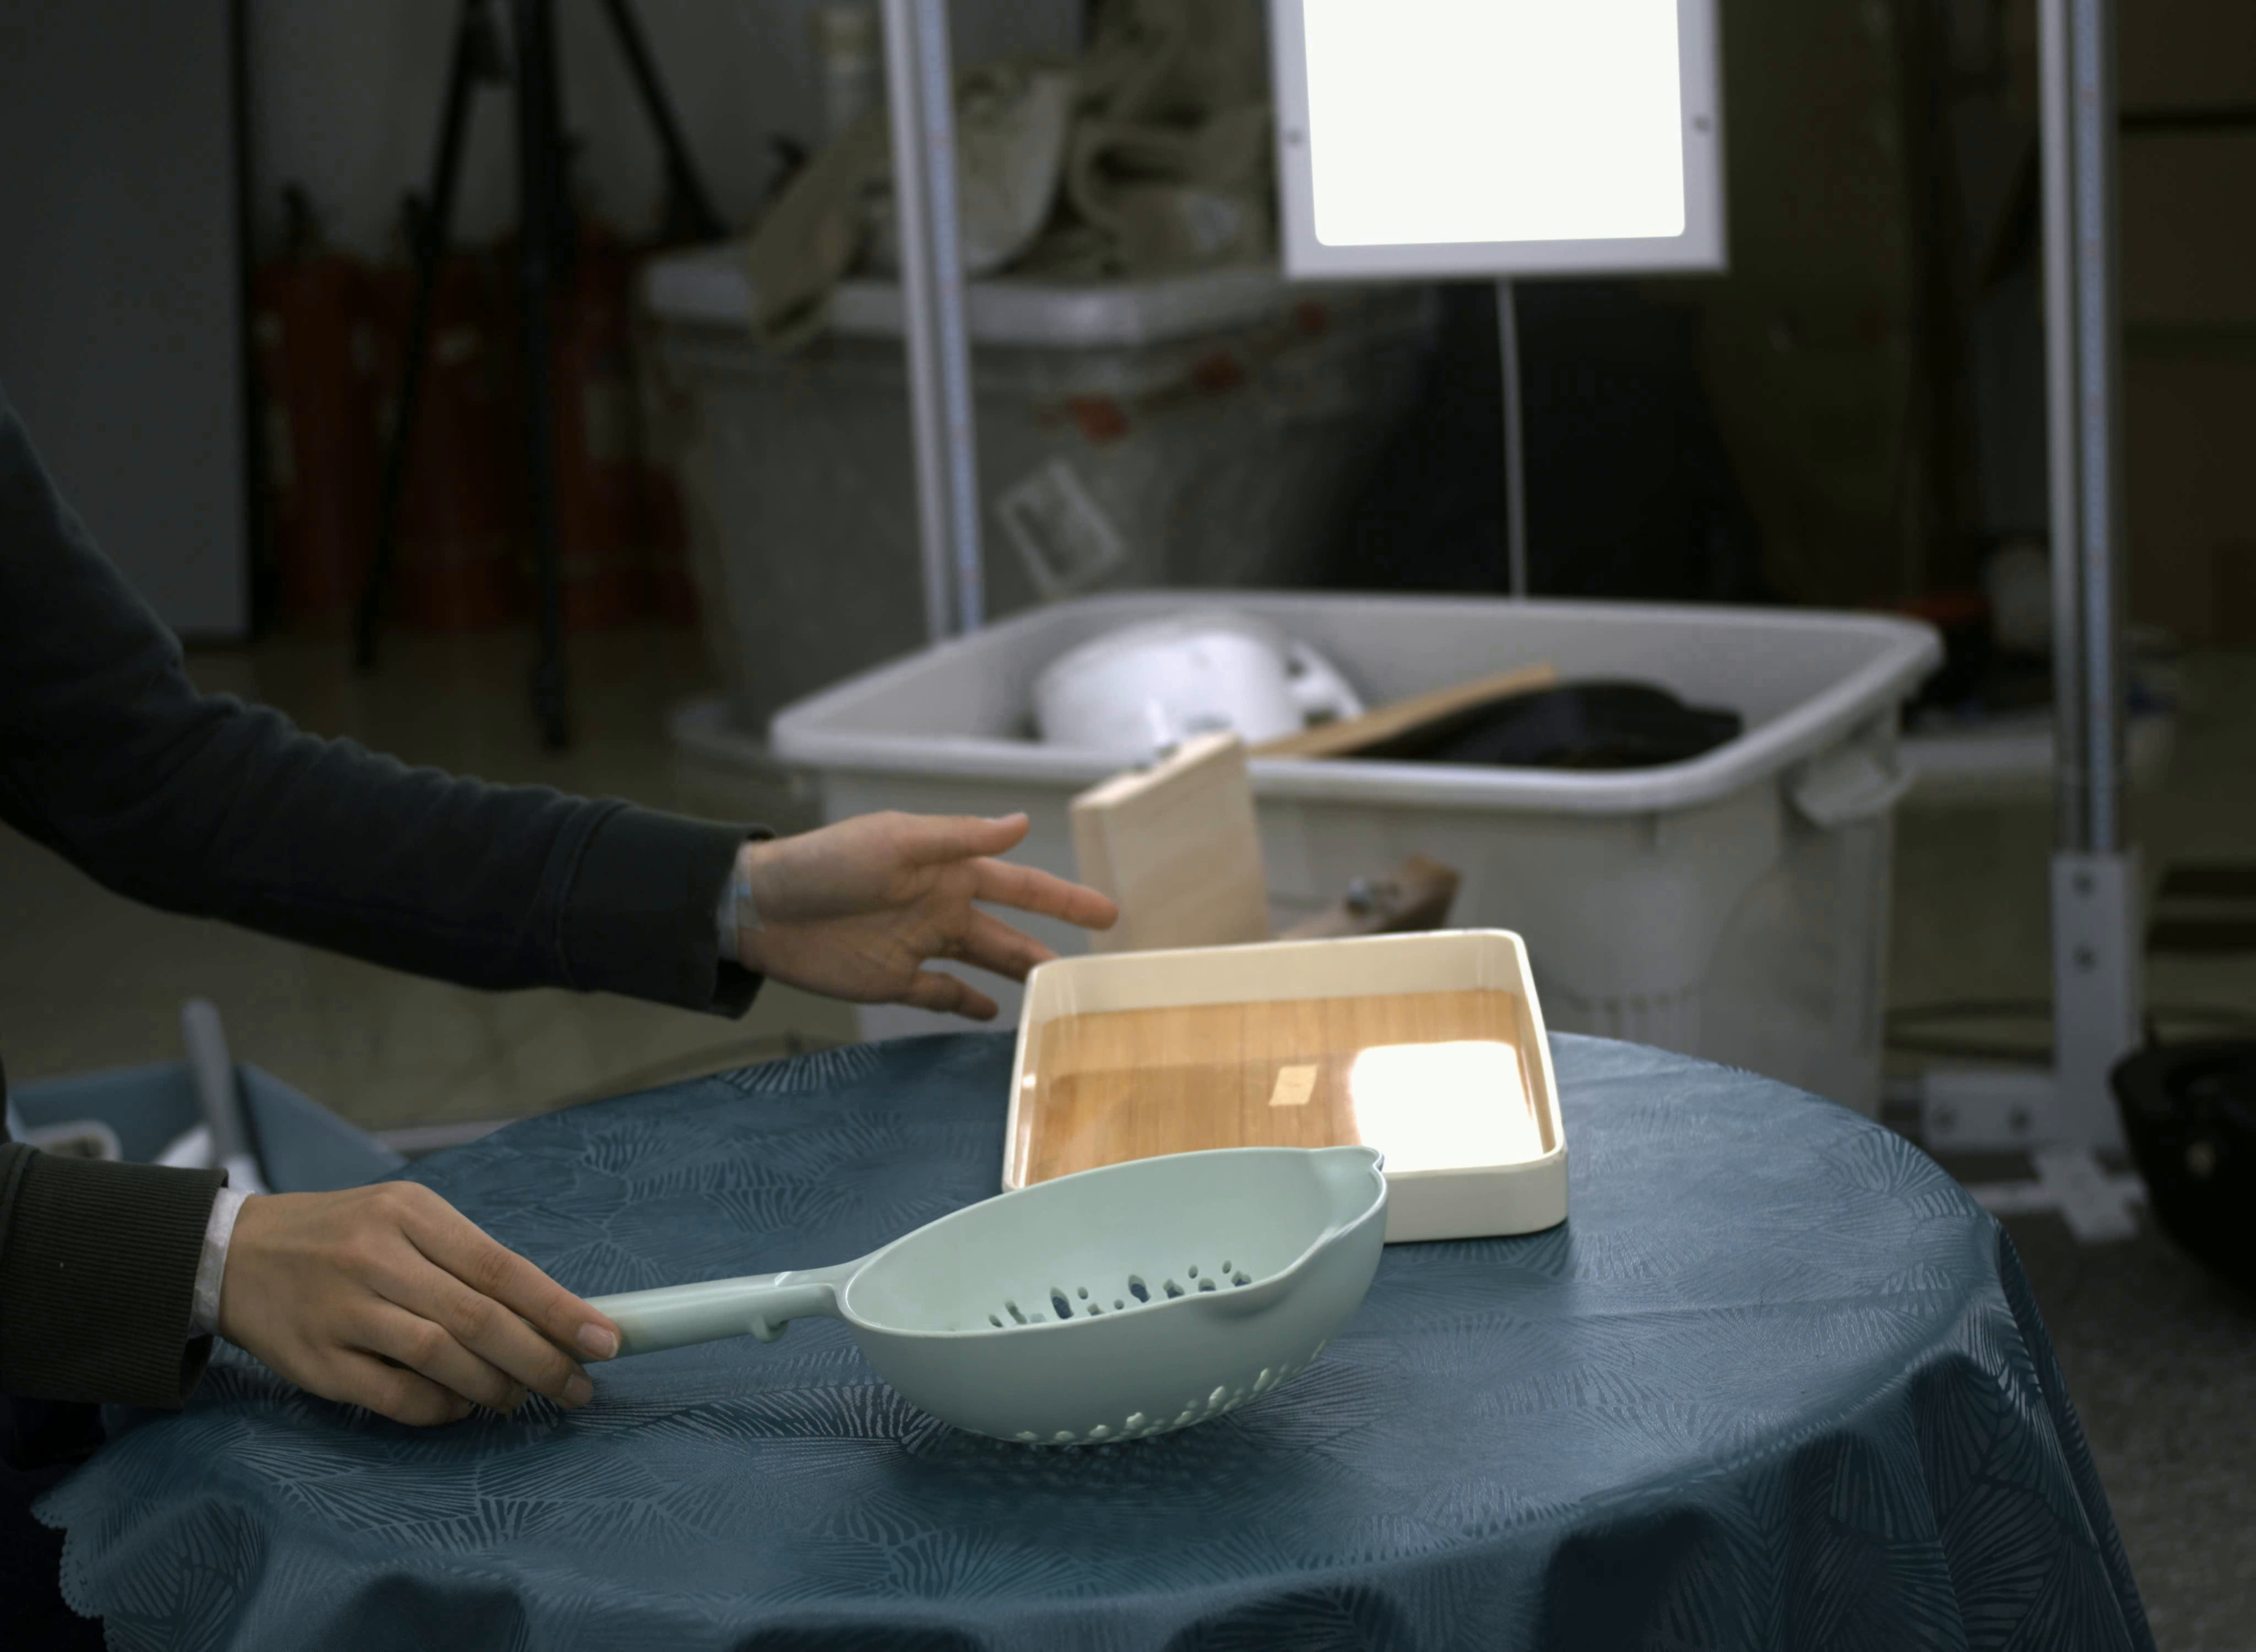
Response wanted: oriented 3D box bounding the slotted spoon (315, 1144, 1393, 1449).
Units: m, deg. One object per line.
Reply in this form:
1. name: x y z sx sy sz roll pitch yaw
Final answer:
1. slotted spoon: -0.092 0.149 1.702 0.363 0.075 0.166 0 14 19

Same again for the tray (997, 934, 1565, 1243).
1. tray: 0.054 0.093 1.959 0.191 0.027 0.299 -4 13 3
